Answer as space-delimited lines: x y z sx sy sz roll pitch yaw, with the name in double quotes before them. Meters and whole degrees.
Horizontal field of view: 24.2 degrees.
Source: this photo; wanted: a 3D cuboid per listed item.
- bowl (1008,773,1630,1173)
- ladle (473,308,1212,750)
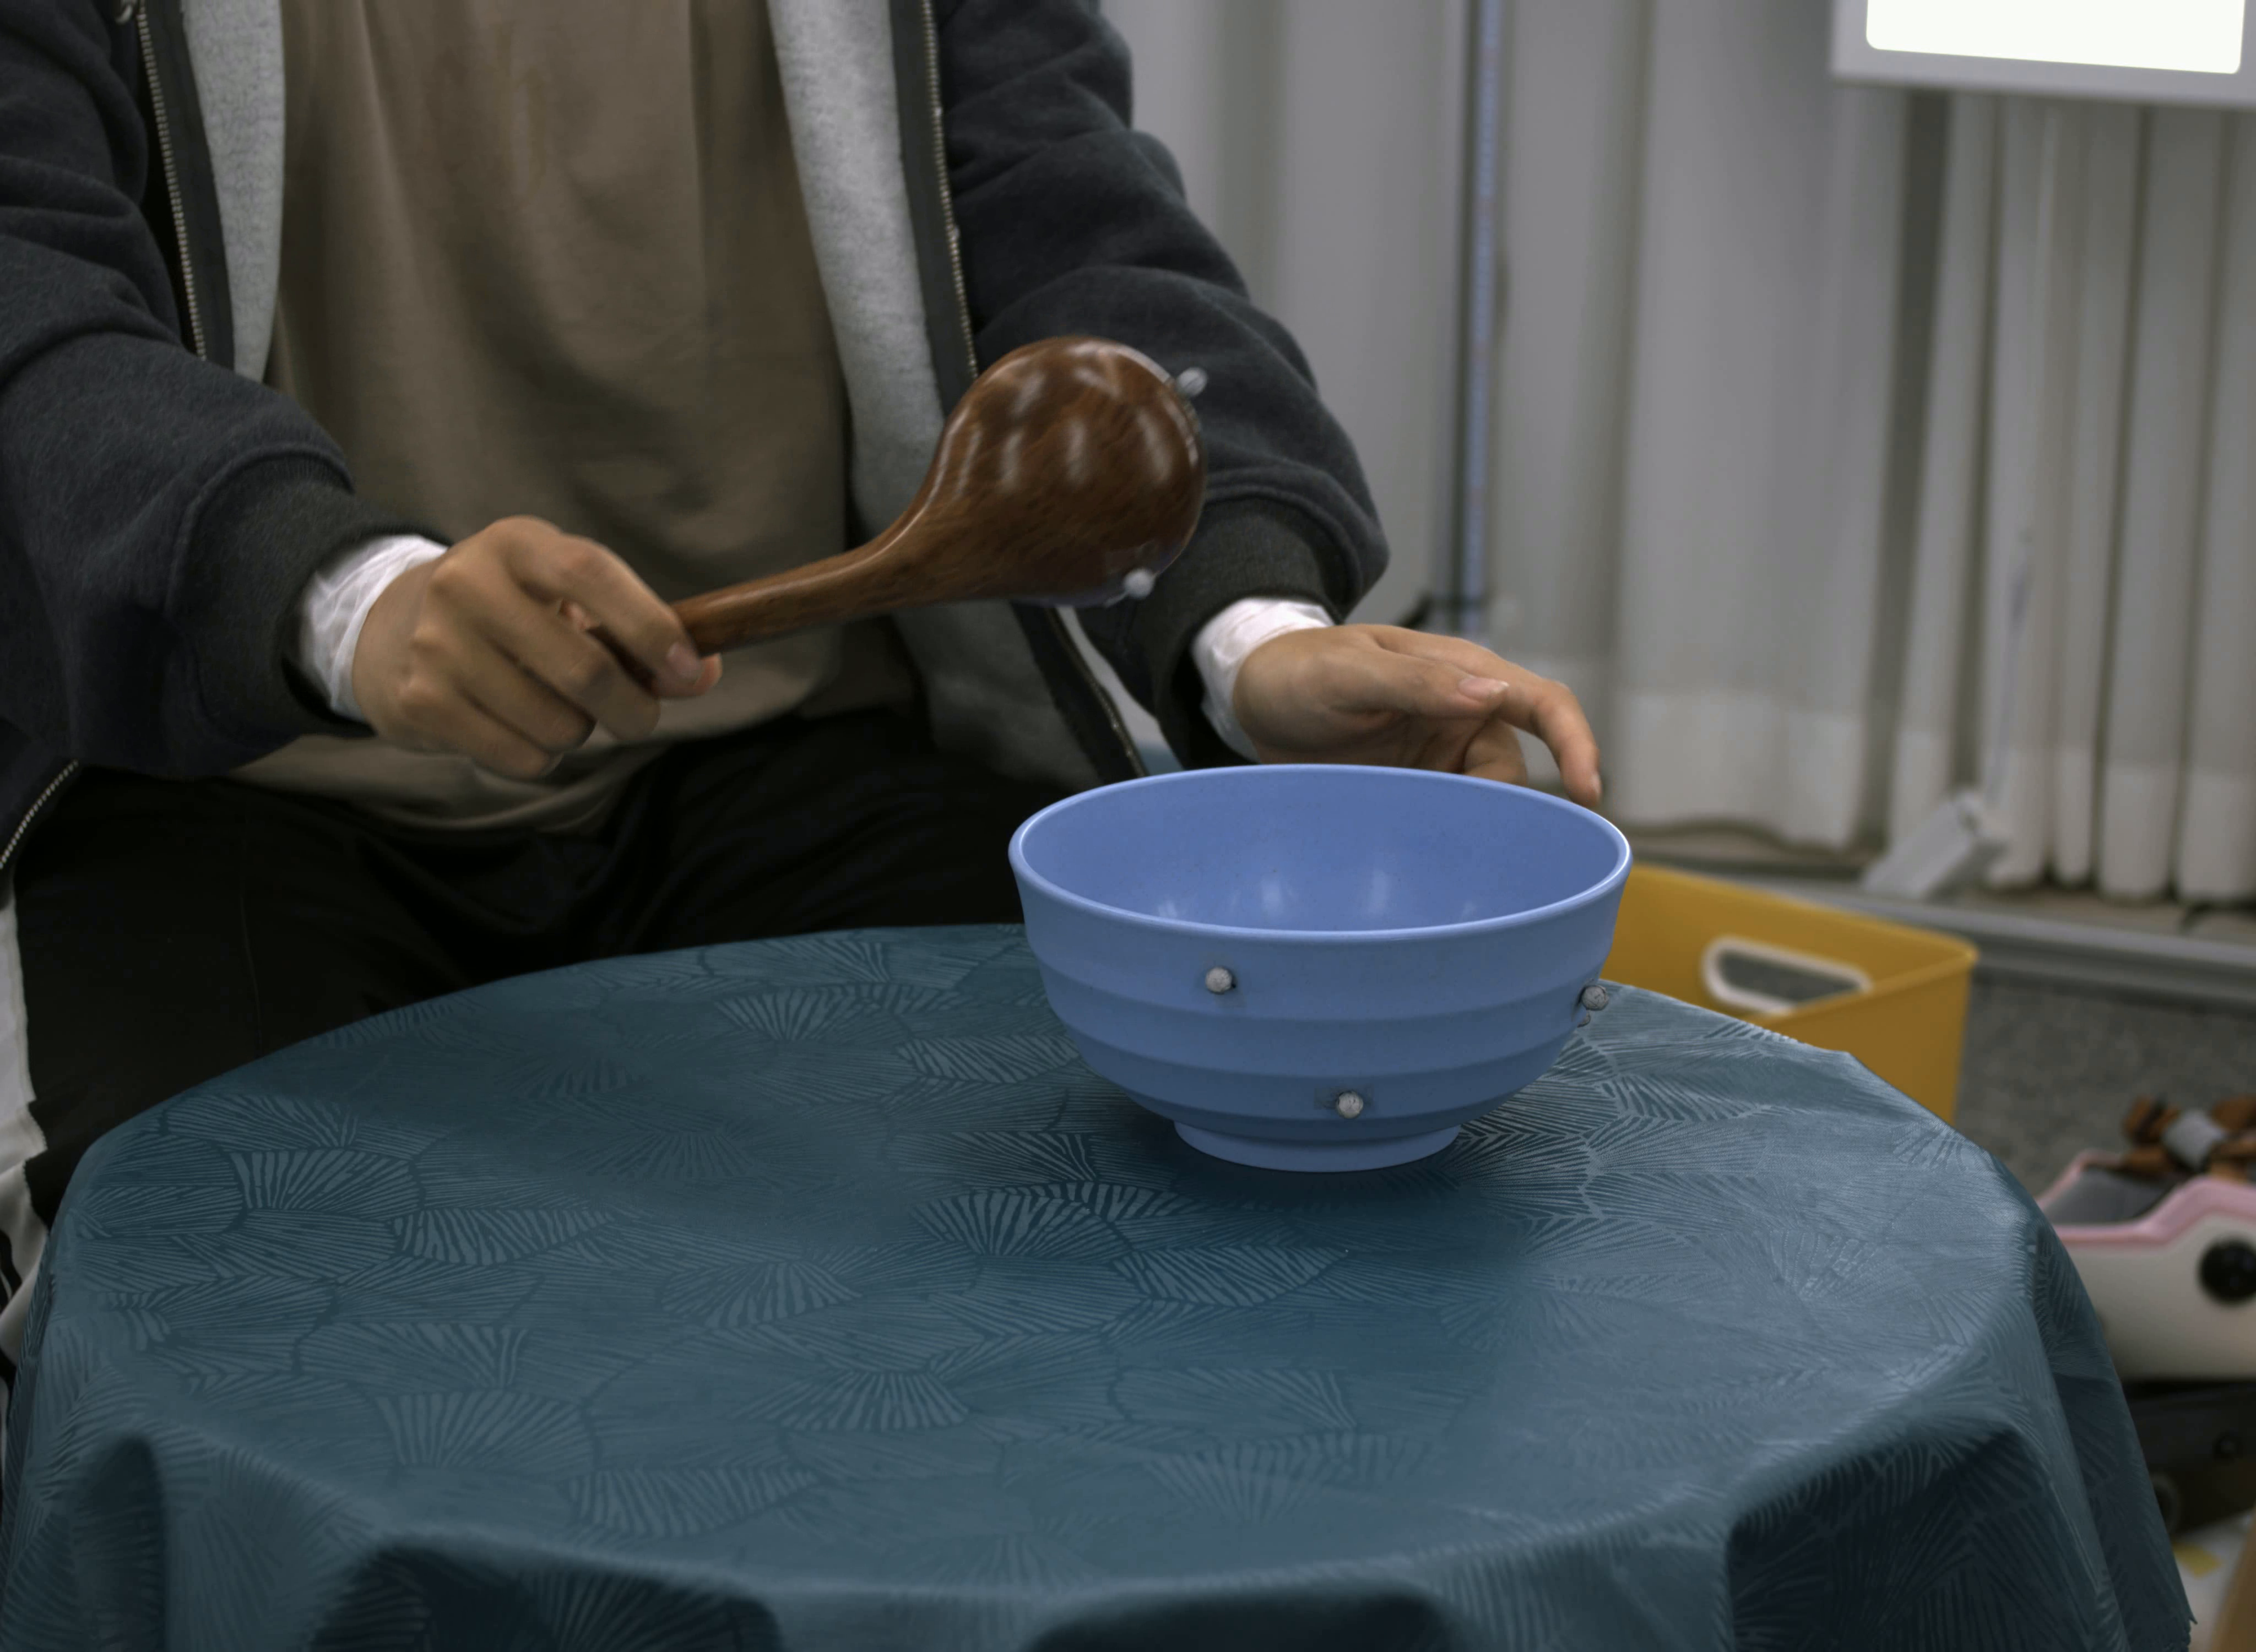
"bowl" 0.060 0.051 1.670 0.196 0.096 0.195 0 15 1
"ladle" -0.091 -0.086 1.595 0.272 0.083 0.076 -17 25 41
